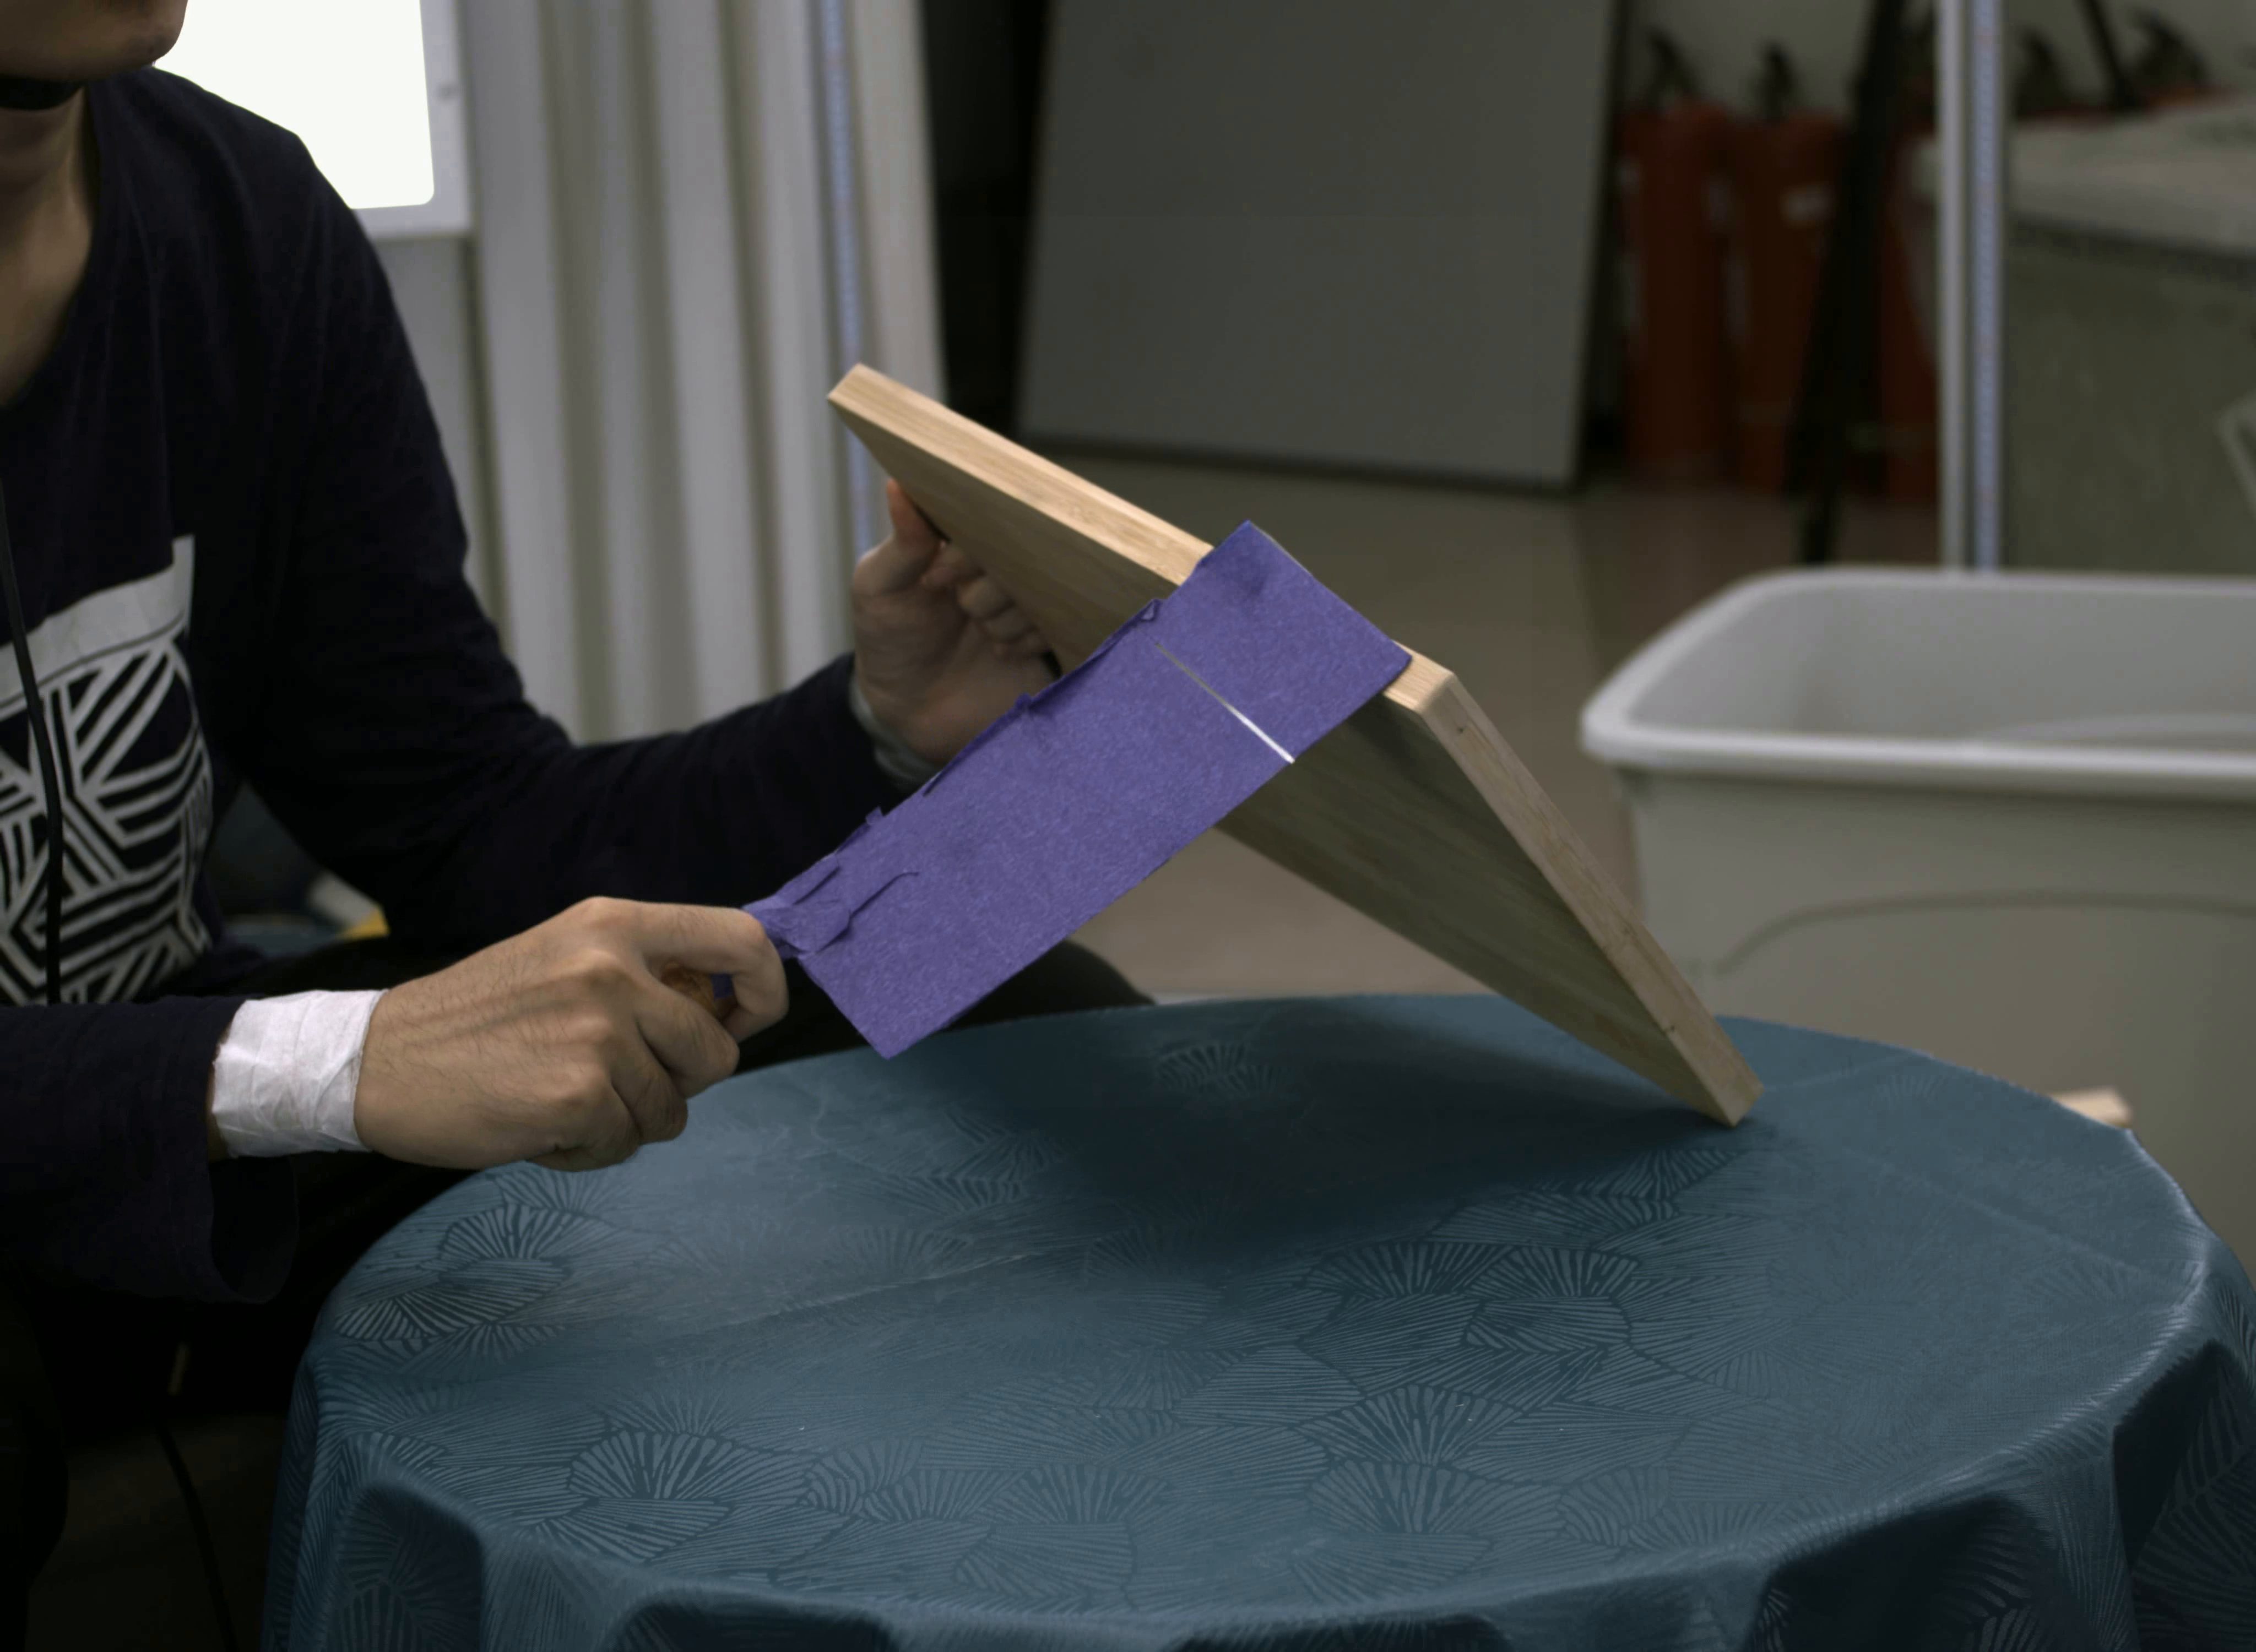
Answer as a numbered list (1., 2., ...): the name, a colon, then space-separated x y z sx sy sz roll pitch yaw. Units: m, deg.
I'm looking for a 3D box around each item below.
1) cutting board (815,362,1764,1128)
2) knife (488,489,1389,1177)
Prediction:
1. cutting board: 0.050 -0.032 1.855 0.023 0.248 0.352 -48 40 -10
2. knife: -0.057 0.013 1.671 0.314 0.032 0.105 -40 43 -6
